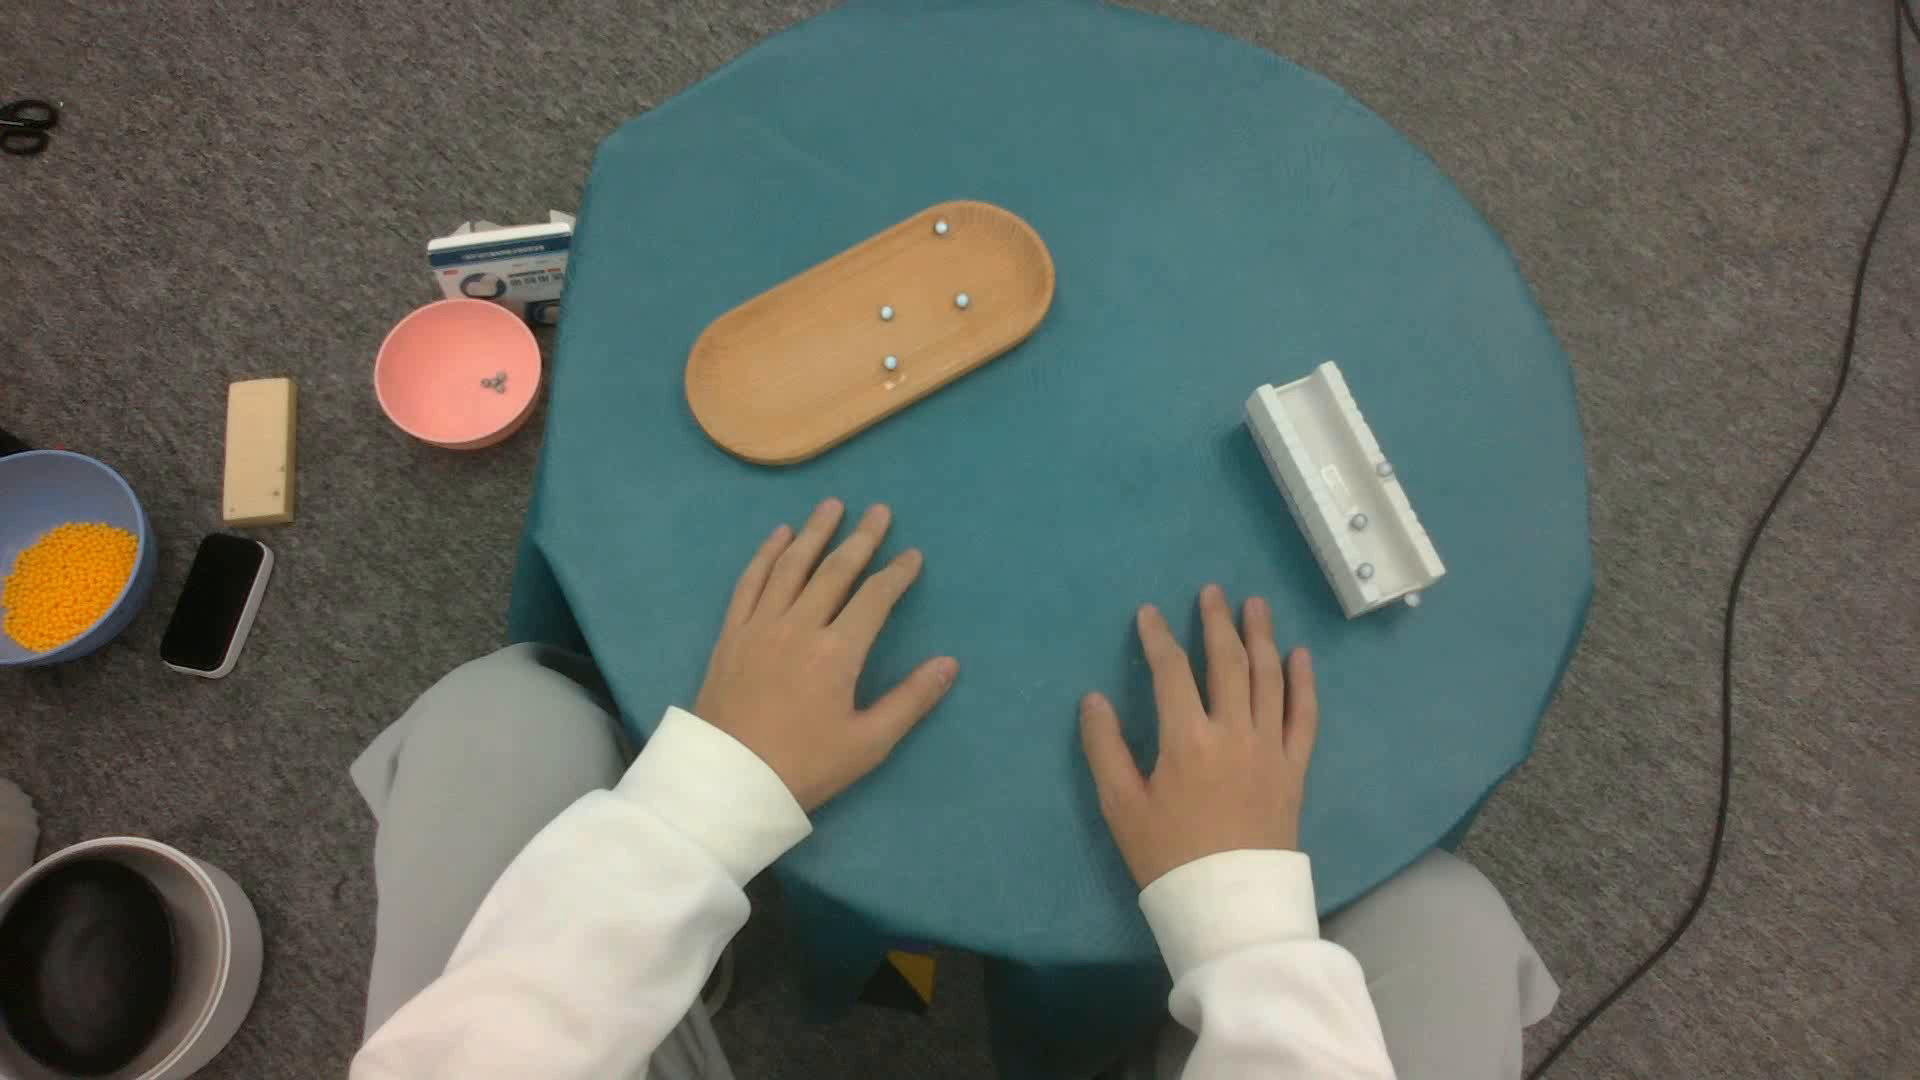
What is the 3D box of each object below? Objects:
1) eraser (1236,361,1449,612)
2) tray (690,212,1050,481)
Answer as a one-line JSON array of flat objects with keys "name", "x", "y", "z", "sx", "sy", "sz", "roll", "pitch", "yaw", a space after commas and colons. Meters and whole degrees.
[{"name": "eraser", "x": 0.212, "y": -0.030, "z": 0.776, "sx": 0.050, "sy": 0.046, "sz": 0.134, "roll": -27, "pitch": 74, "yaw": -7}, {"name": "tray", "x": -0.050, "y": -0.116, "z": 0.811, "sx": 0.231, "sy": 0.020, "sz": 0.102, "roll": -33, "pitch": 73, "yaw": -12}]
